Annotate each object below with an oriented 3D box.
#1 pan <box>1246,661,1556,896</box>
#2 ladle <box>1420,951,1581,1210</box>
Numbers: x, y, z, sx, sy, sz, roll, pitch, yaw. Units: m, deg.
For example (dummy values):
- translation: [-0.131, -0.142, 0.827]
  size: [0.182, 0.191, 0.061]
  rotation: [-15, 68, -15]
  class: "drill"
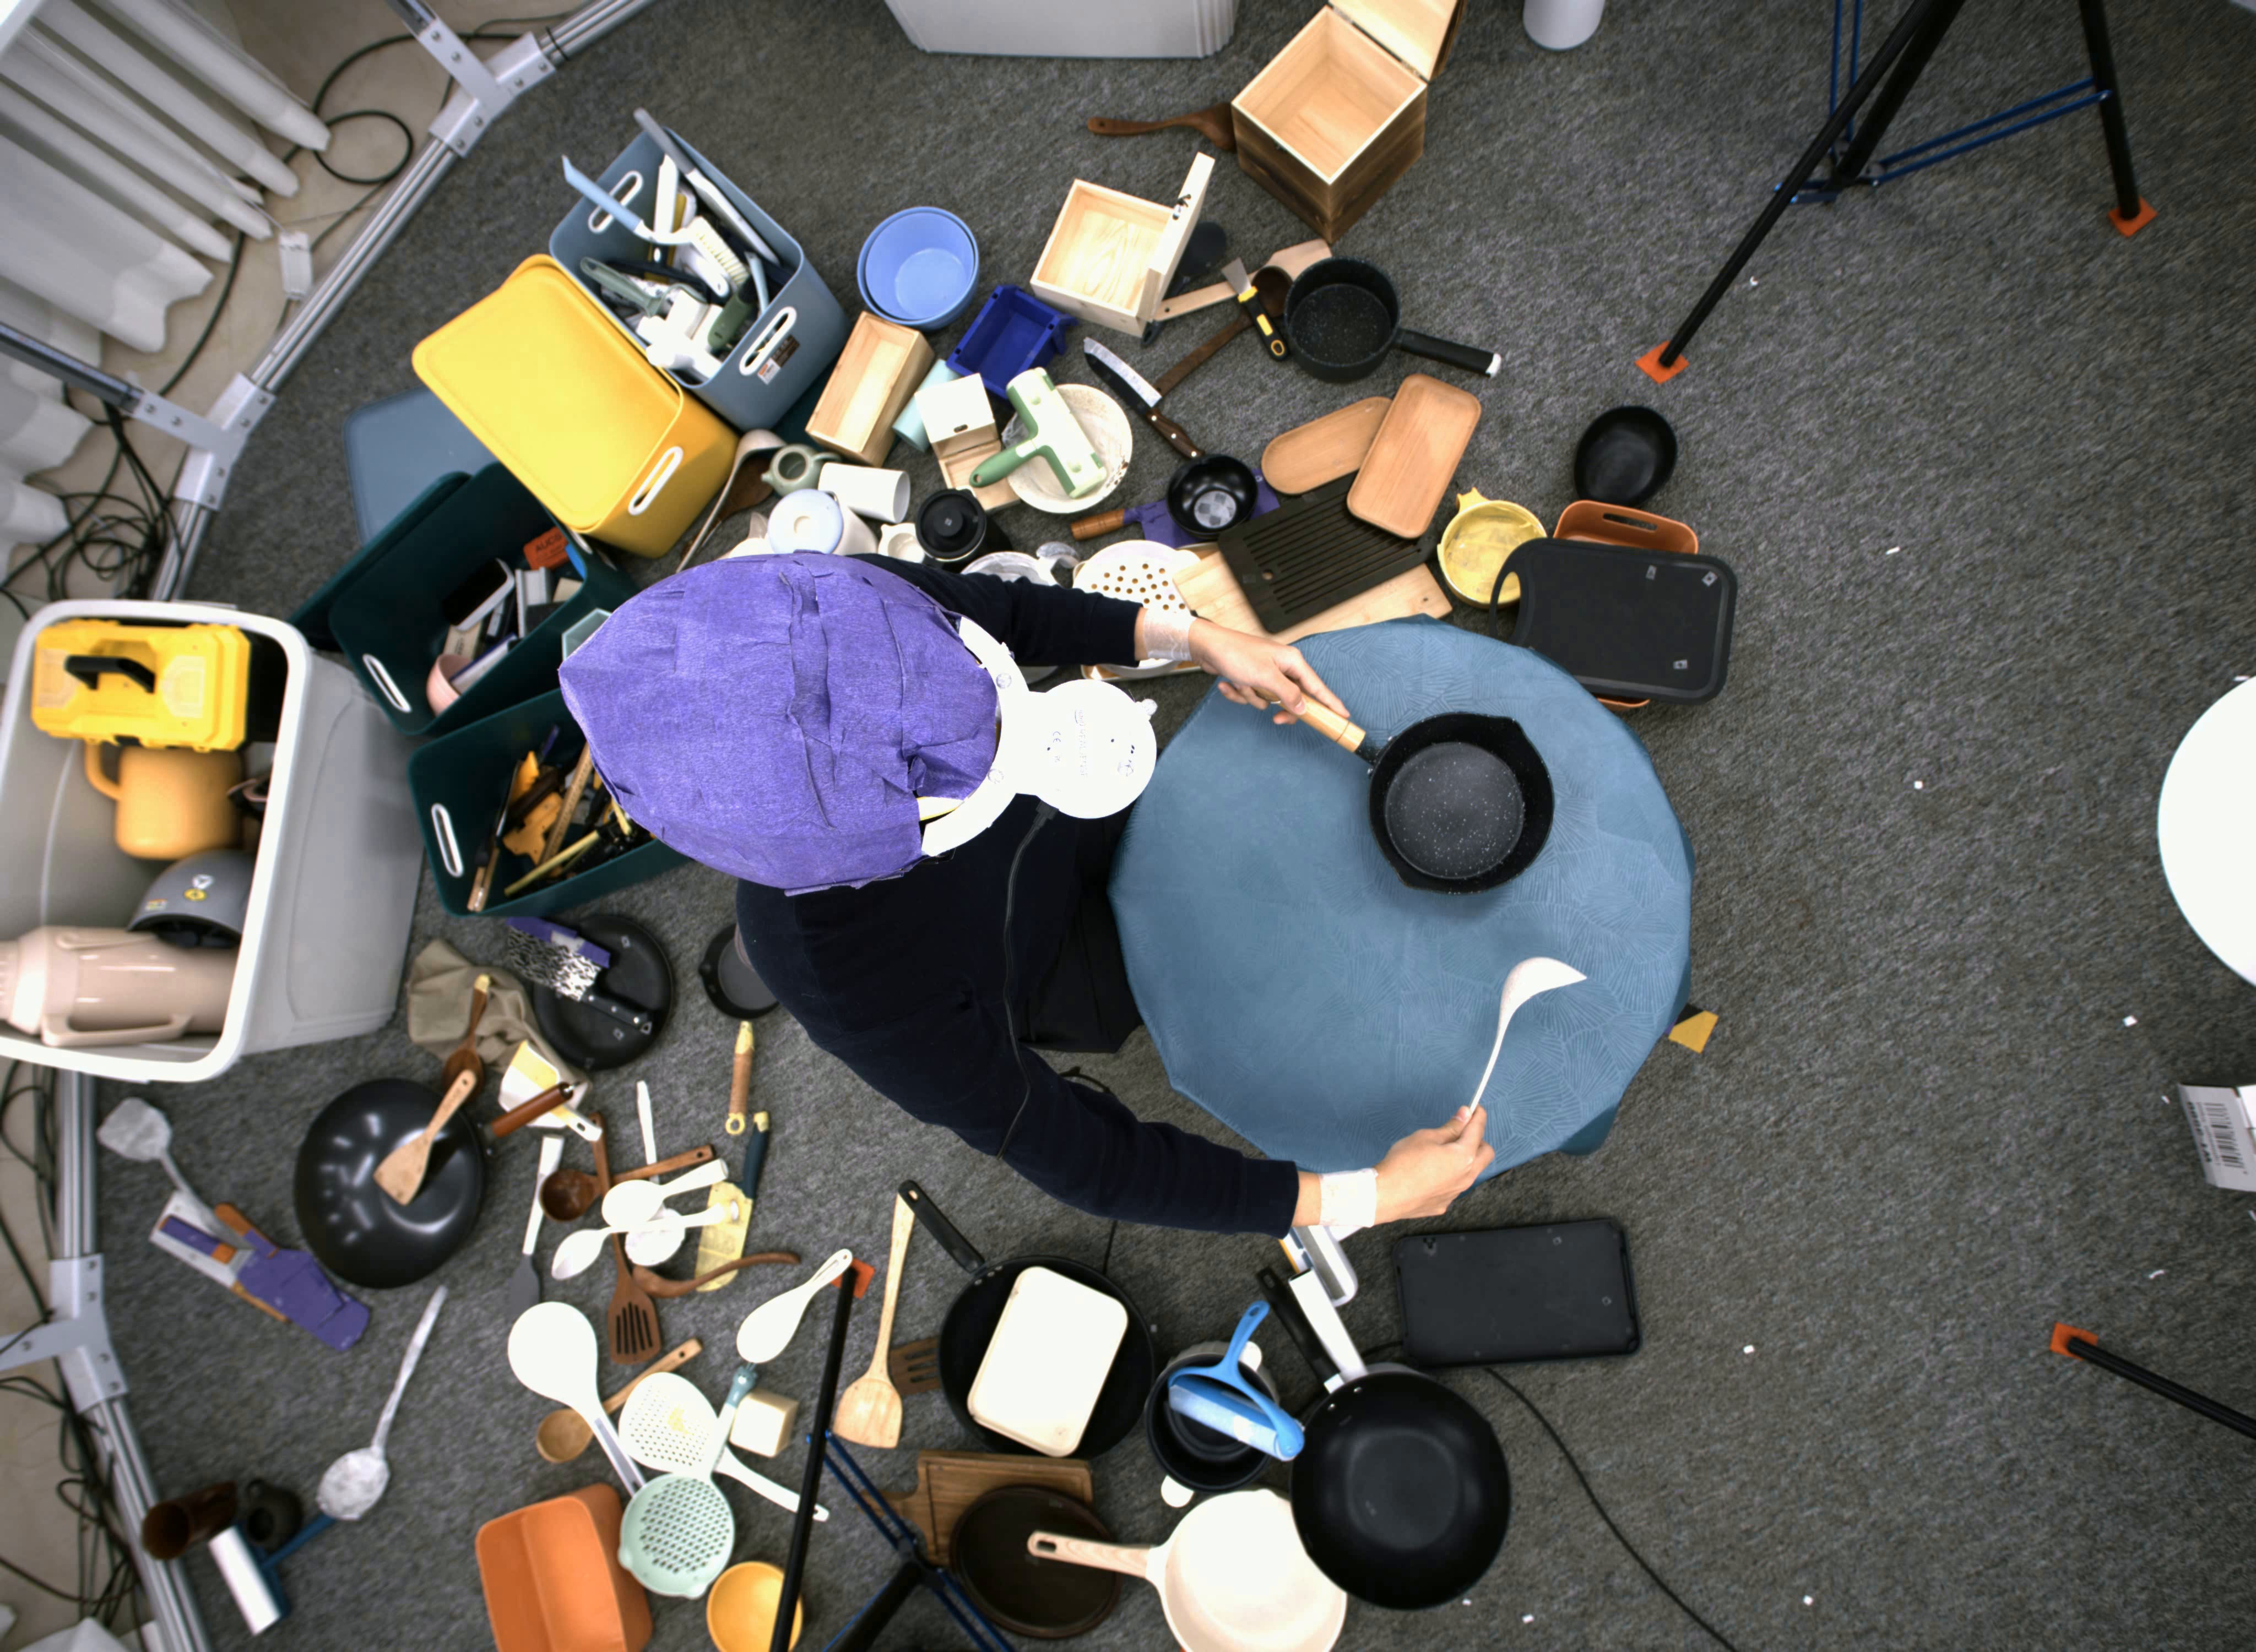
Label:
- translation: [0.269, -0.063, 1.409]
  size: [0.342, 0.108, 0.208]
  rotation: [32, 94, 8]
  class: "pan"
- translation: [0.359, 0.248, 1.324]
  size: [0.069, 0.089, 0.274]
  rotation: [20, 88, 17]
  class: "ladle"
